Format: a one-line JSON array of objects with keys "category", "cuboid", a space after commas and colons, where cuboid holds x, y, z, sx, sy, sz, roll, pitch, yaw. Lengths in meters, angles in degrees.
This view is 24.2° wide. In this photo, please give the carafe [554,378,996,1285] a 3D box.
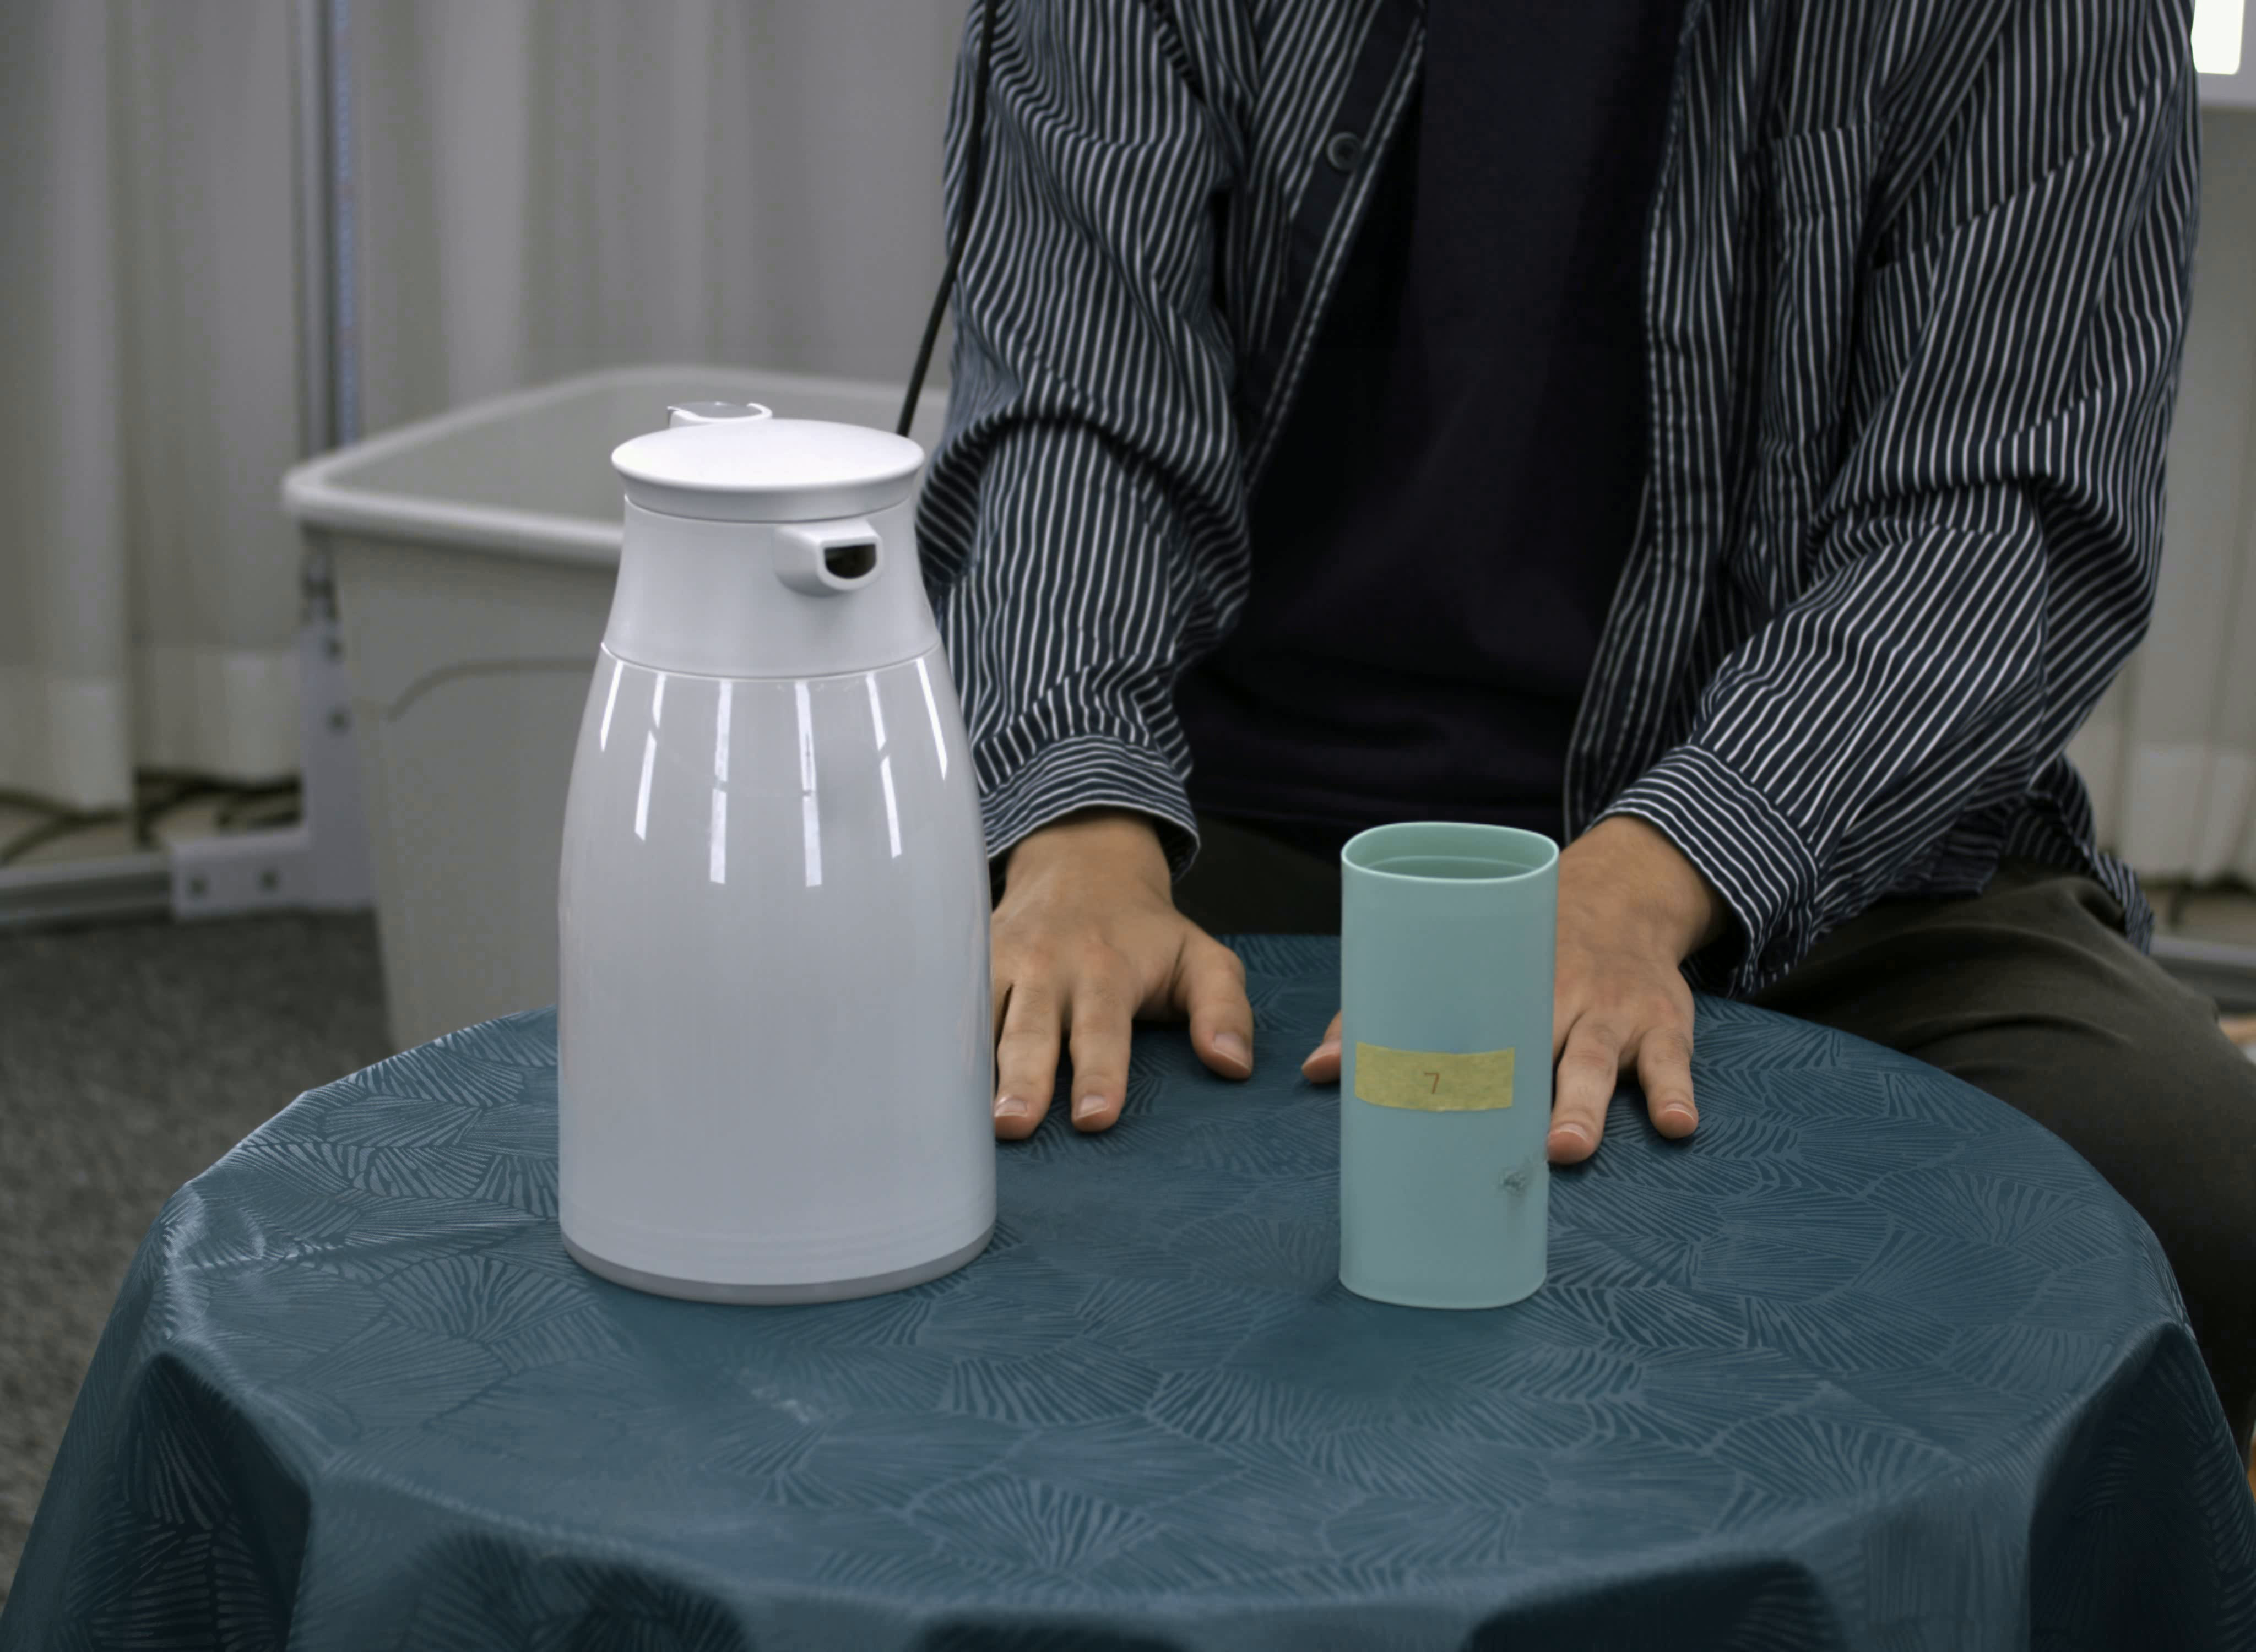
[{"category": "carafe", "cuboid": [-0.116, -0.007, 1.572, 0.133, 0.250, 0.165, -9, 17, -28]}]

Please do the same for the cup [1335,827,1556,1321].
[{"category": "cup", "cuboid": [0.092, 0.071, 1.541, 0.066, 0.133, 0.066, 0, 18, 0]}]
